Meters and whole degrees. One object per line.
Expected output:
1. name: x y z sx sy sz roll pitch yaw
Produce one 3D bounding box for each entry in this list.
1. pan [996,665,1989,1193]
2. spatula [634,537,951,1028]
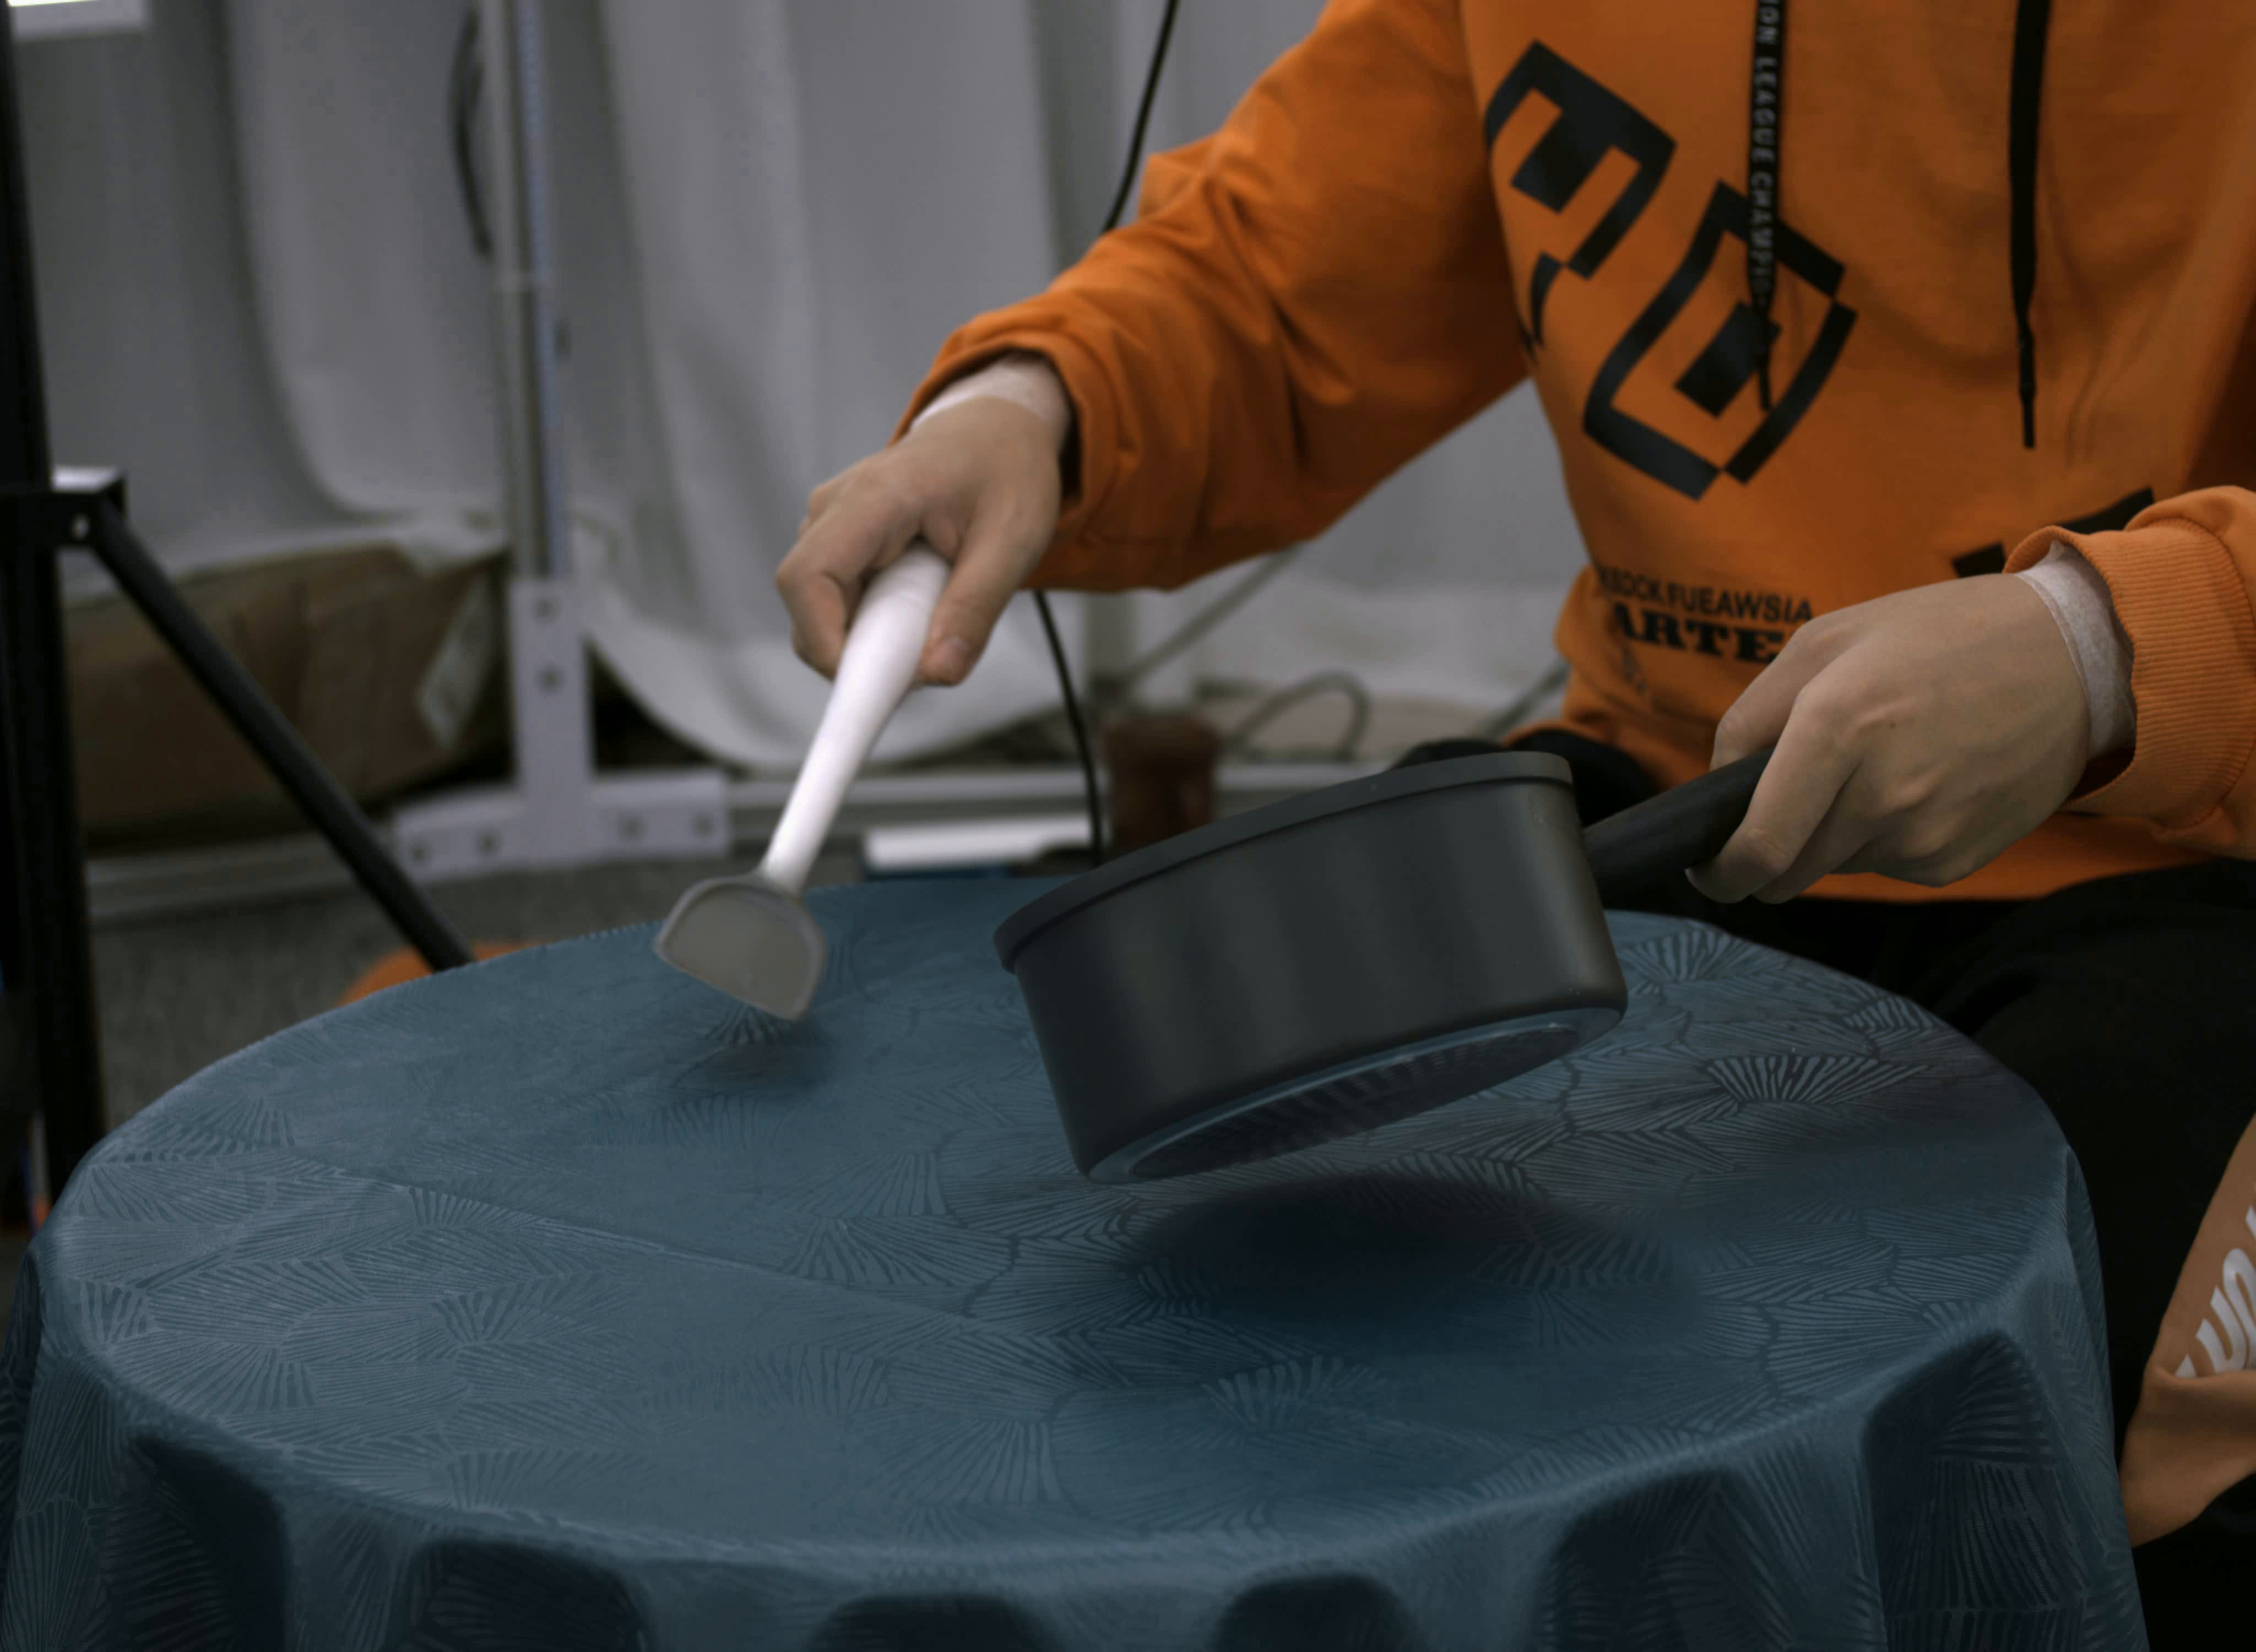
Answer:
1. pan: 0.122 0.027 1.528 0.322 0.087 0.174 -13 -11 -27
2. spatula: -0.106 -0.015 1.779 0.058 0.032 0.287 31 33 -7
